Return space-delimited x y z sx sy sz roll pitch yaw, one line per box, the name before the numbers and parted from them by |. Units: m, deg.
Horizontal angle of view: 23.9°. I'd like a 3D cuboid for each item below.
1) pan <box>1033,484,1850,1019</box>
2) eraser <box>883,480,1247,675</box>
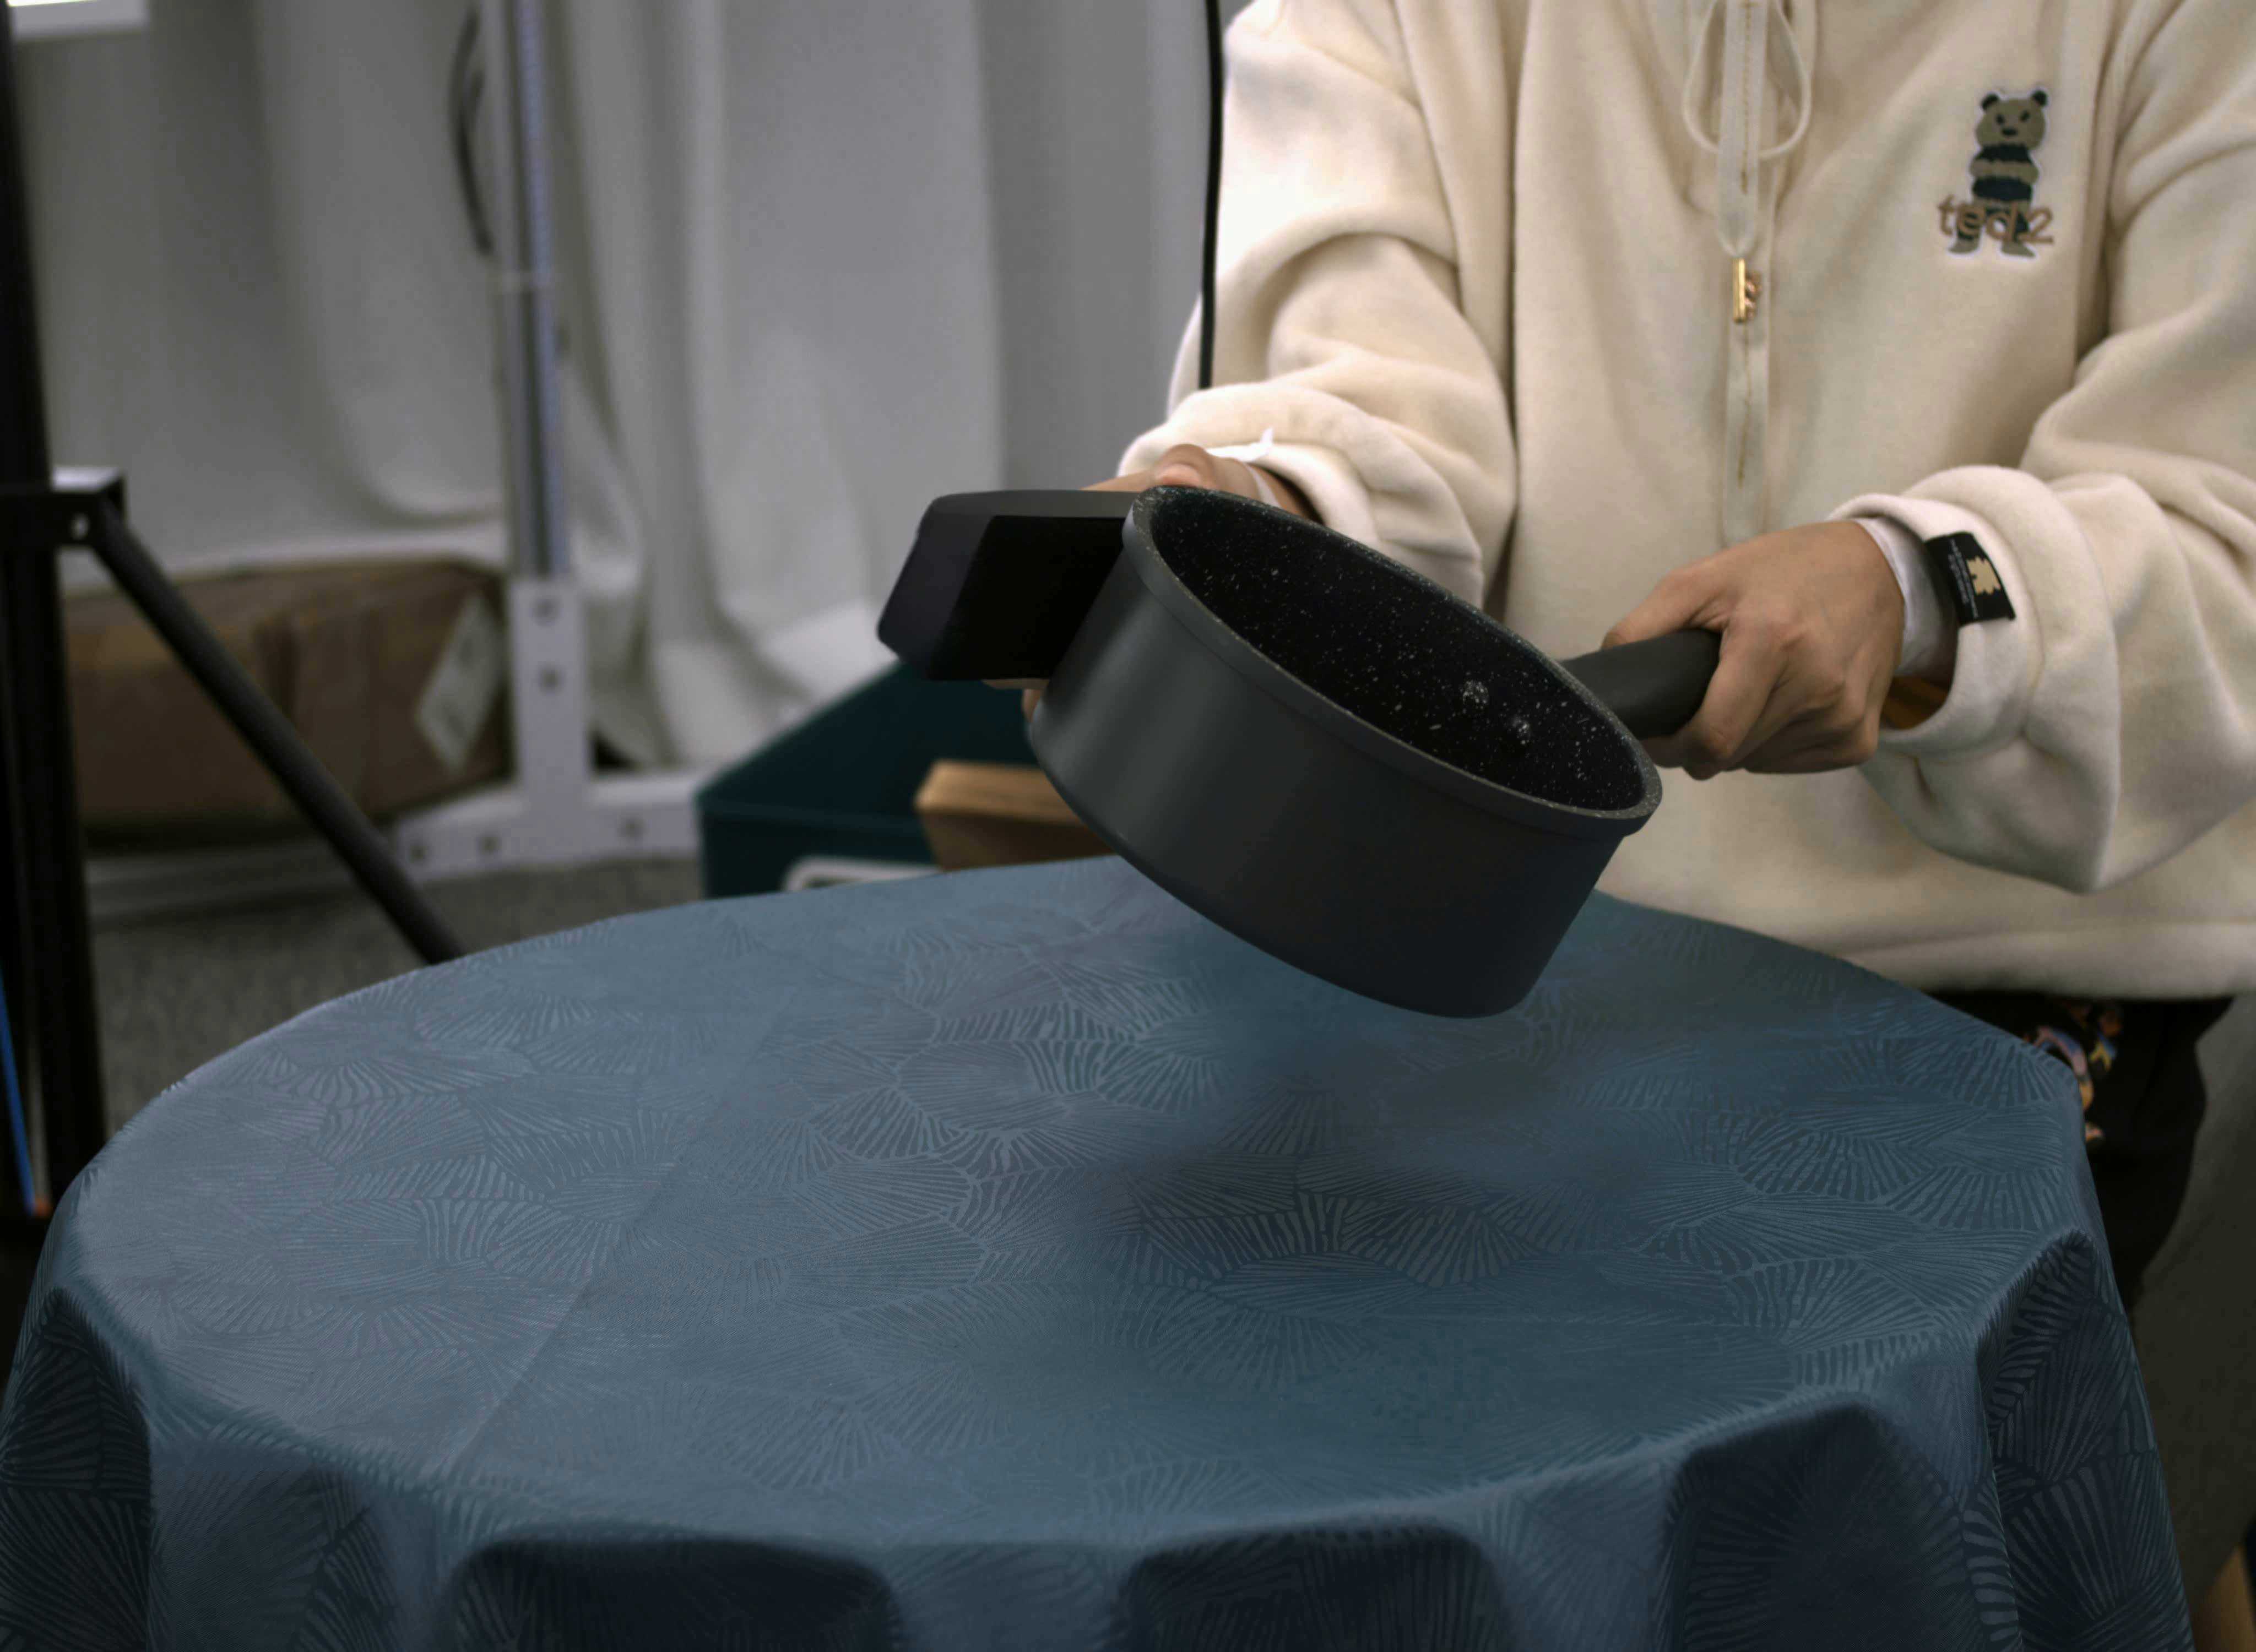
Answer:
pan | 0.106 -0.021 1.562 0.175 0.087 0.320 41 23 30
eraser | -0.015 -0.071 1.541 0.031 0.054 0.122 38 23 31
